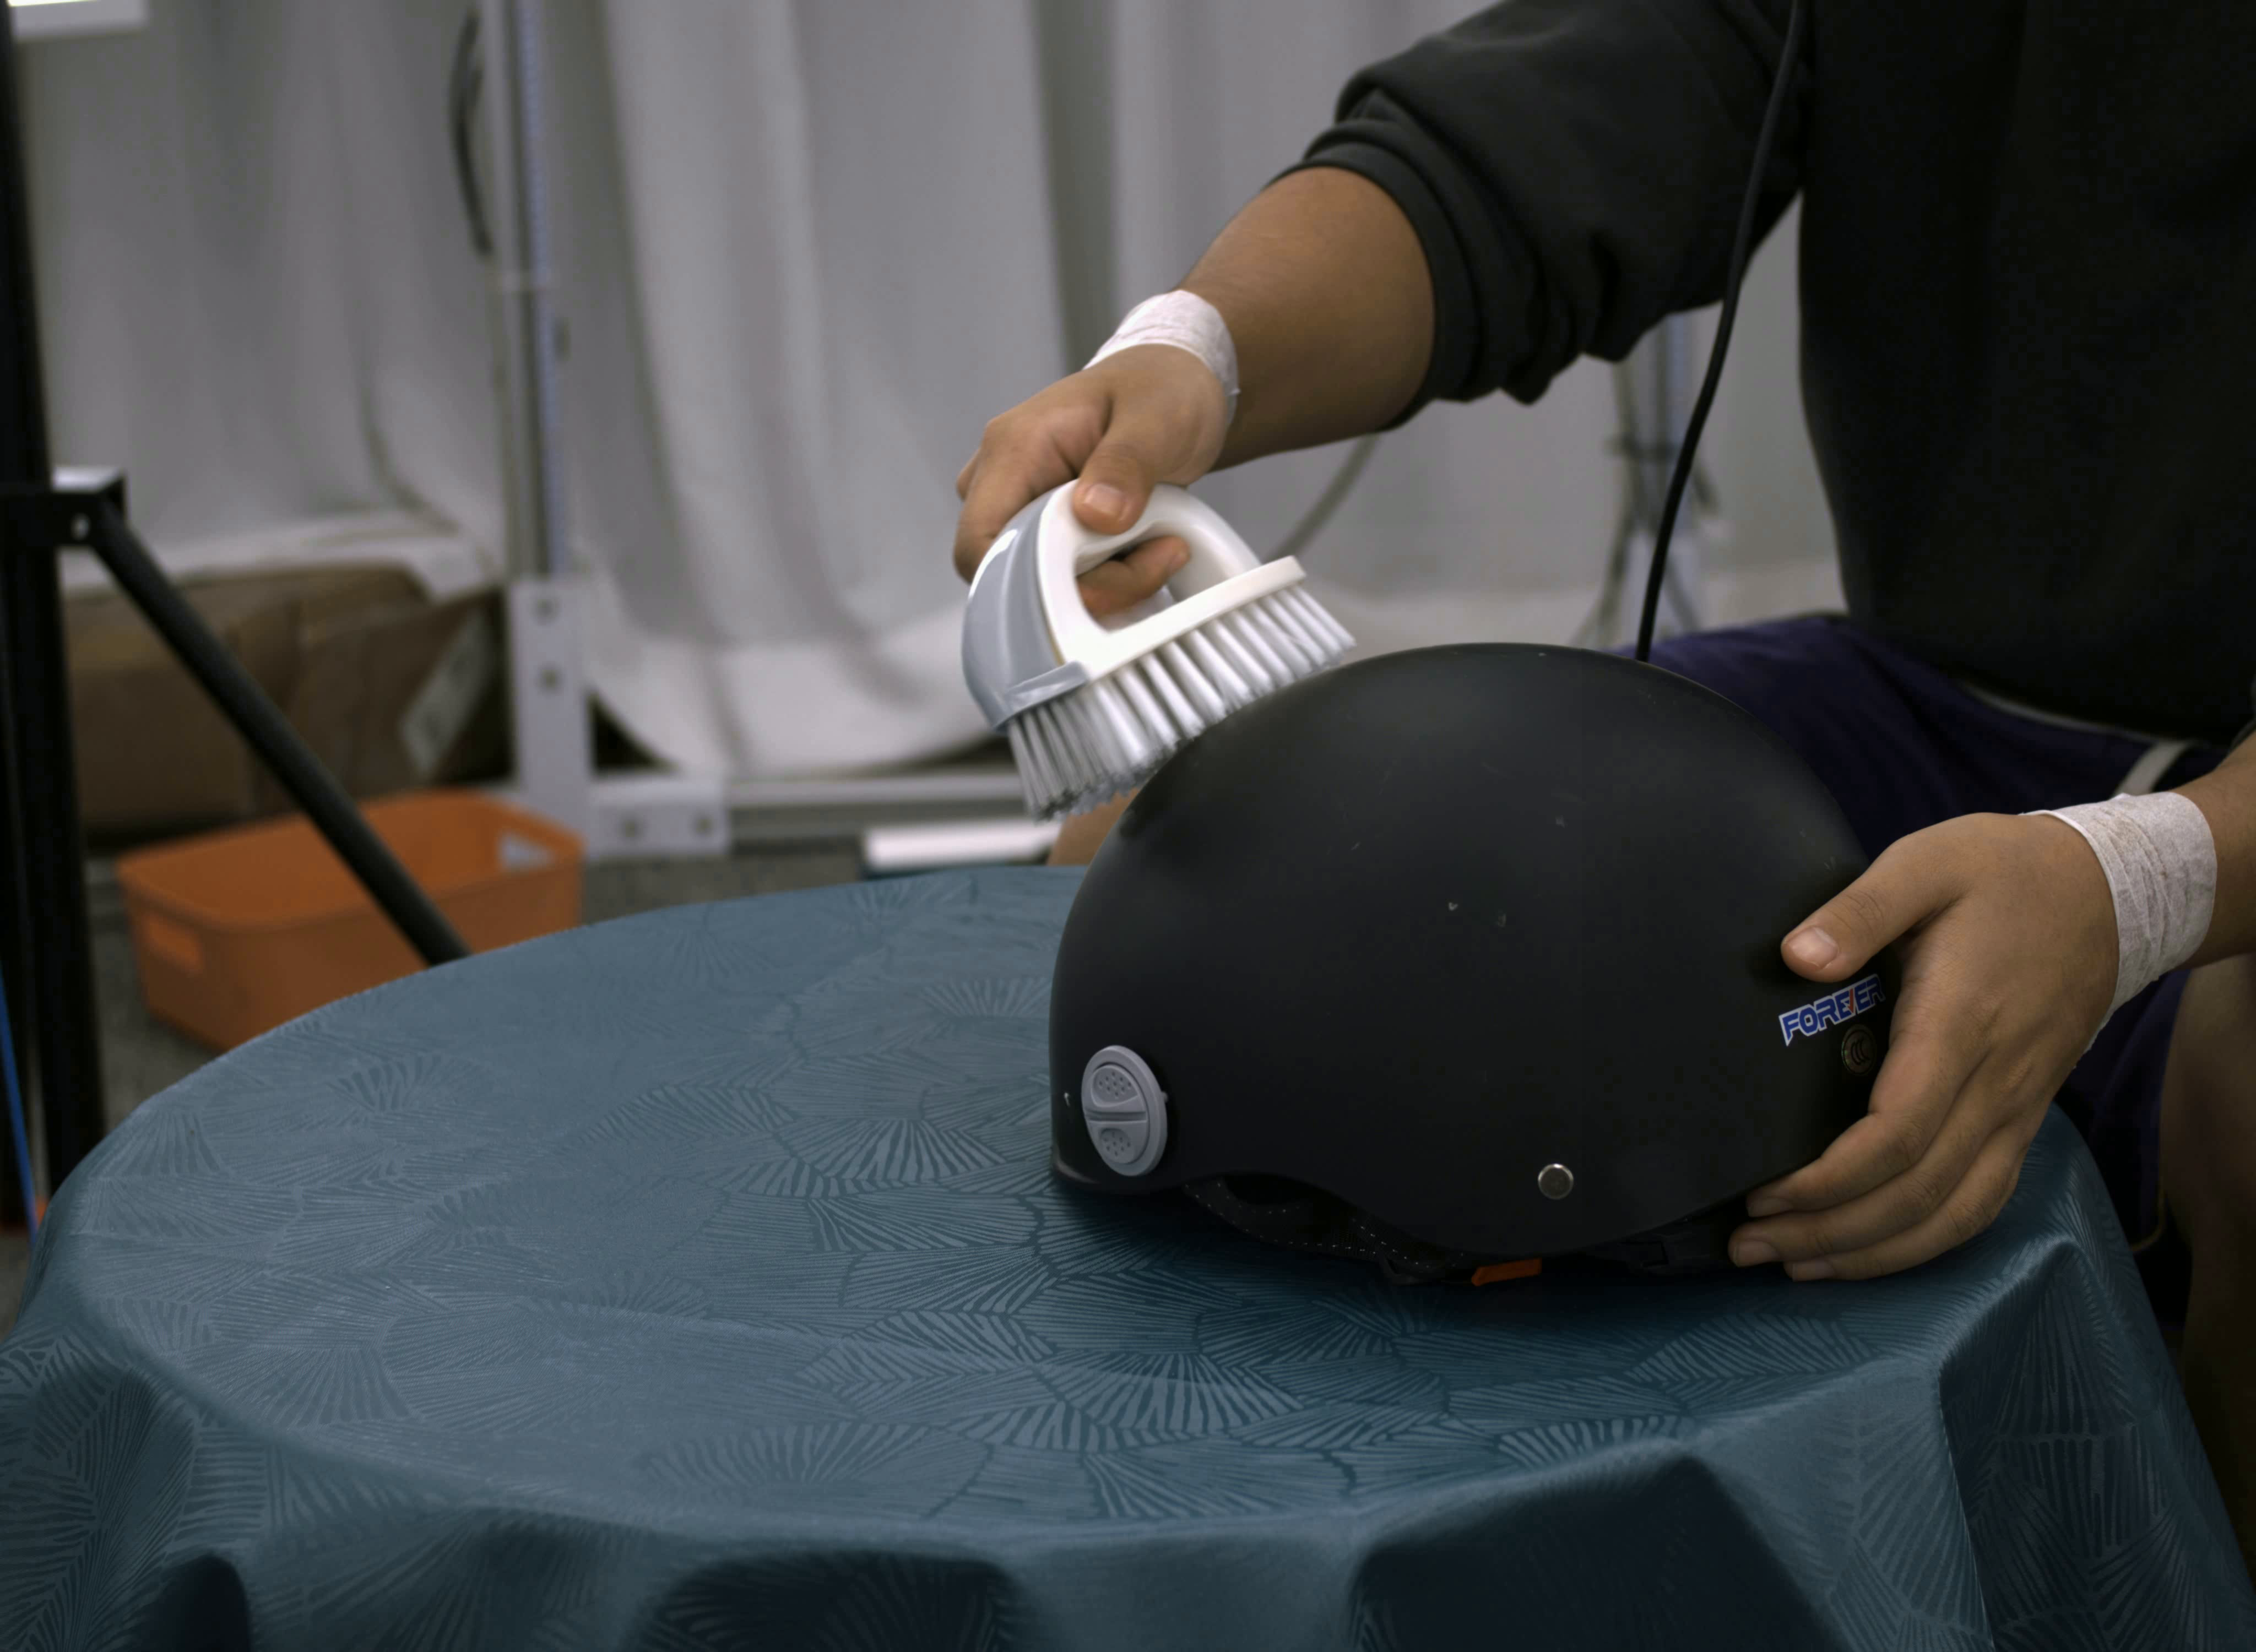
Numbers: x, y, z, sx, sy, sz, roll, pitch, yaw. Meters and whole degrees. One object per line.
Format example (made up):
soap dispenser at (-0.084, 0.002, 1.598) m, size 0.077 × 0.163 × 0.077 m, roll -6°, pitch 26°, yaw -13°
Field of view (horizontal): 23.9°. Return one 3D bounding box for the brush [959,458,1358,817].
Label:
brush at (-0.005, -0.061, 1.570) m, size 0.062 × 0.095 × 0.173 m, roll -40°, pitch -5°, yaw 32°

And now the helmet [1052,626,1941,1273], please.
helmet at (0.100, 0.026, 1.539) m, size 0.279 × 0.167 × 0.225 m, roll 10°, pitch 19°, yaw 44°
